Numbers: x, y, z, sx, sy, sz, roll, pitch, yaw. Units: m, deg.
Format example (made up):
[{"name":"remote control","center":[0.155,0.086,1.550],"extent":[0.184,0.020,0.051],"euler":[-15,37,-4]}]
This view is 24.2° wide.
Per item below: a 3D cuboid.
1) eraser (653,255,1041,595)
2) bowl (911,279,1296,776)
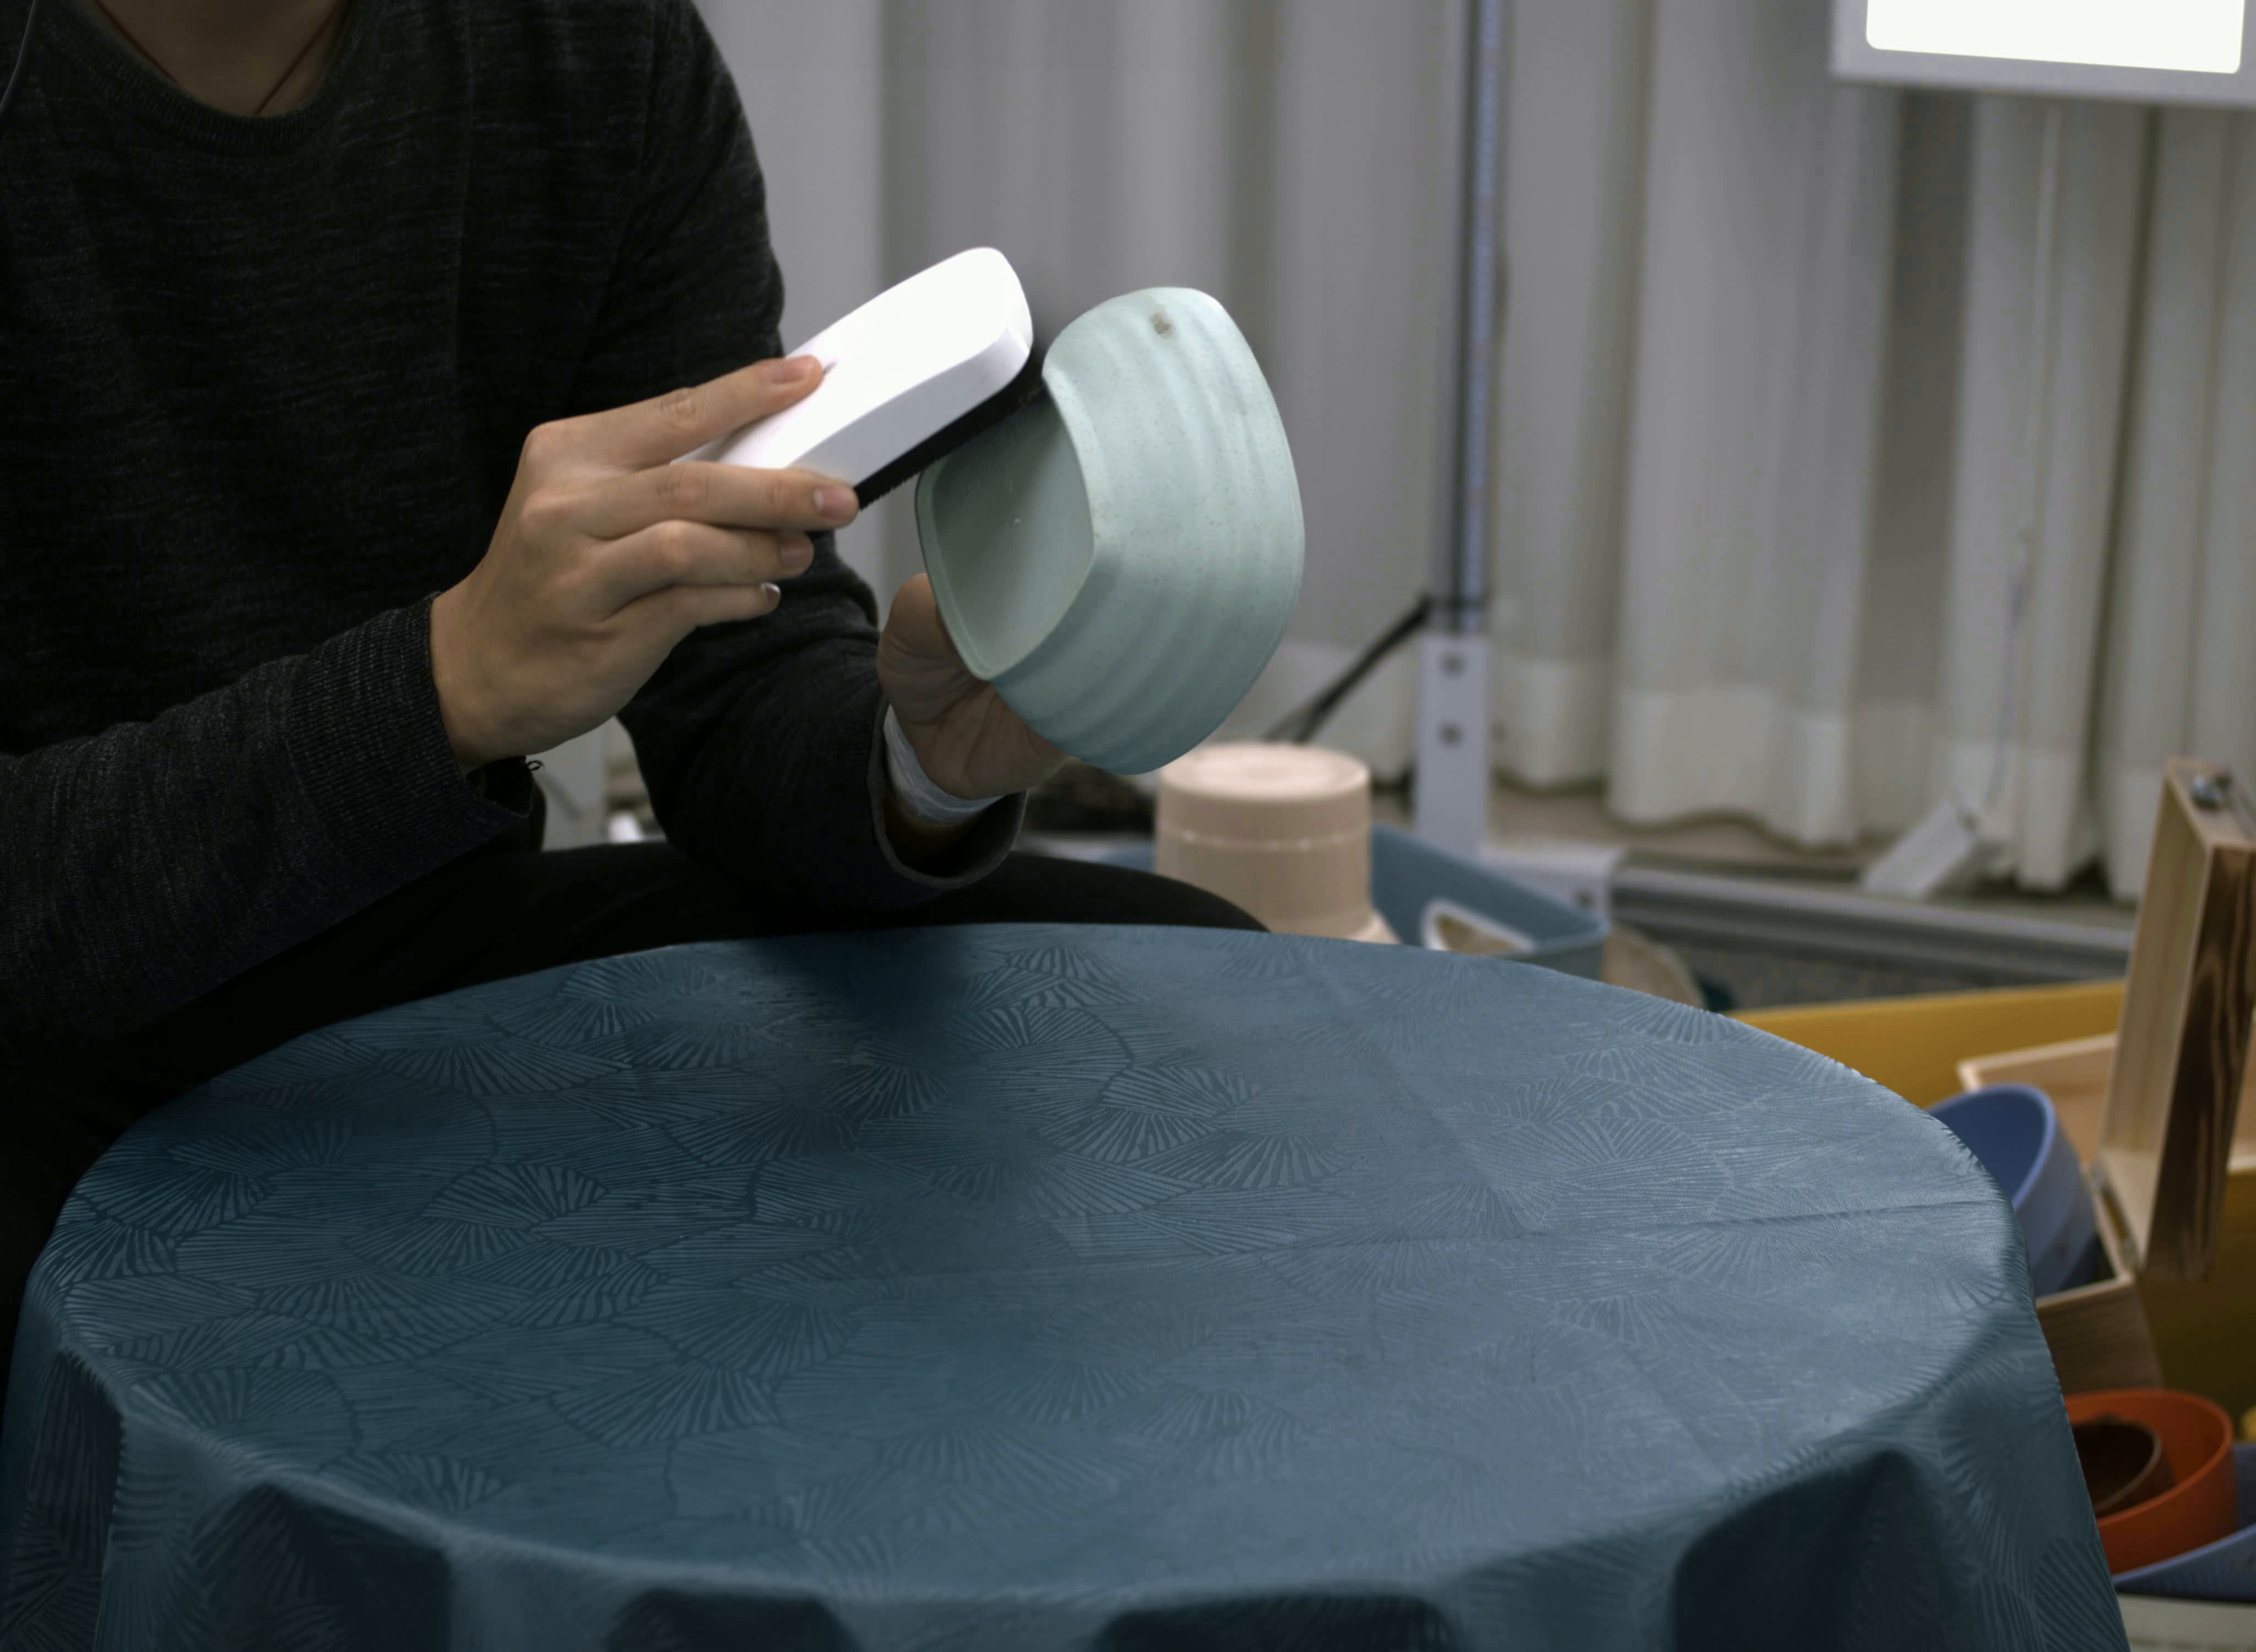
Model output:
[{"name":"eraser","center":[-0.085,-0.122,1.568],"extent":[0.131,0.035,0.063],"euler":[-30,32,17]},{"name":"bowl","center":[-0.016,-0.090,1.581],"extent":[0.059,0.152,0.149],"euler":[0,14,-35]}]
